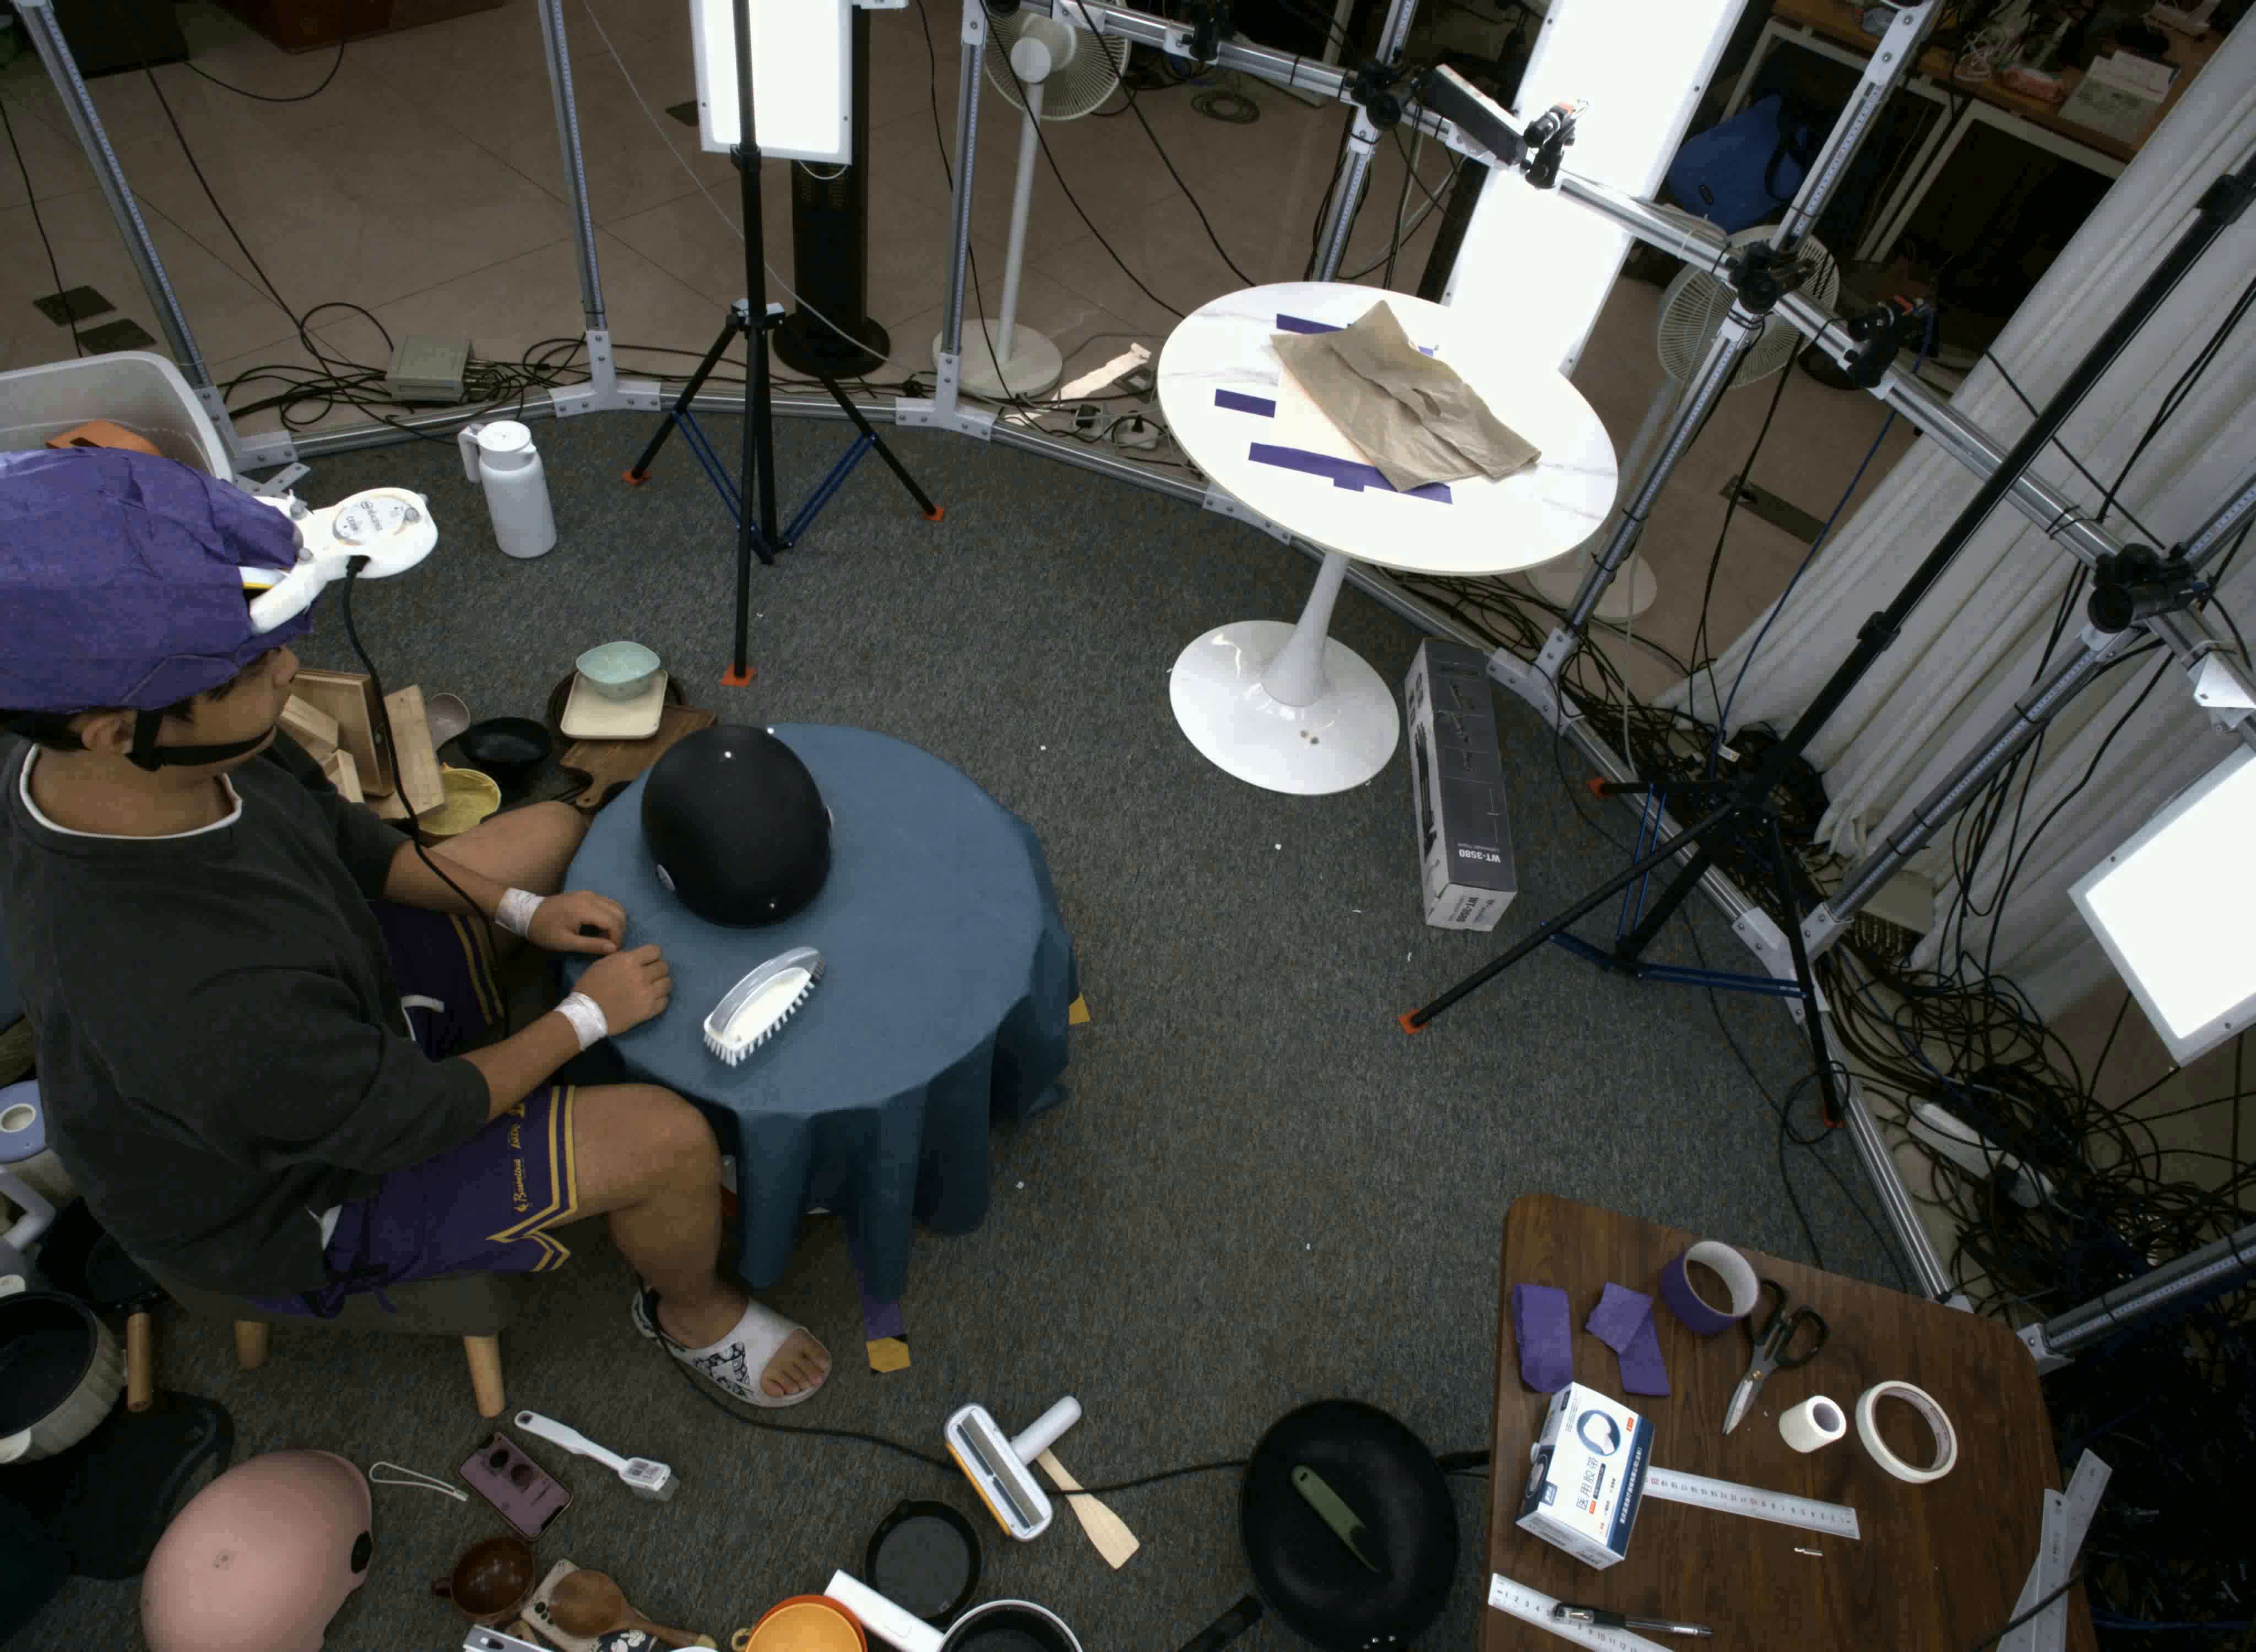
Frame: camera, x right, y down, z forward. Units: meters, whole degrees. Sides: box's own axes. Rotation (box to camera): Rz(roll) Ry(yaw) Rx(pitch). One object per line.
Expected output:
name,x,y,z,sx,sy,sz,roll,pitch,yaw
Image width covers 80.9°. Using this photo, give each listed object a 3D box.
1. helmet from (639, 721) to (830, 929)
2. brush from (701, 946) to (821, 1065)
helmet,-0.498,-0.024,1.625,0.231,0.170,0.267,-21,63,-26
brush,-0.426,0.190,1.528,0.060,0.096,0.175,36,52,15
